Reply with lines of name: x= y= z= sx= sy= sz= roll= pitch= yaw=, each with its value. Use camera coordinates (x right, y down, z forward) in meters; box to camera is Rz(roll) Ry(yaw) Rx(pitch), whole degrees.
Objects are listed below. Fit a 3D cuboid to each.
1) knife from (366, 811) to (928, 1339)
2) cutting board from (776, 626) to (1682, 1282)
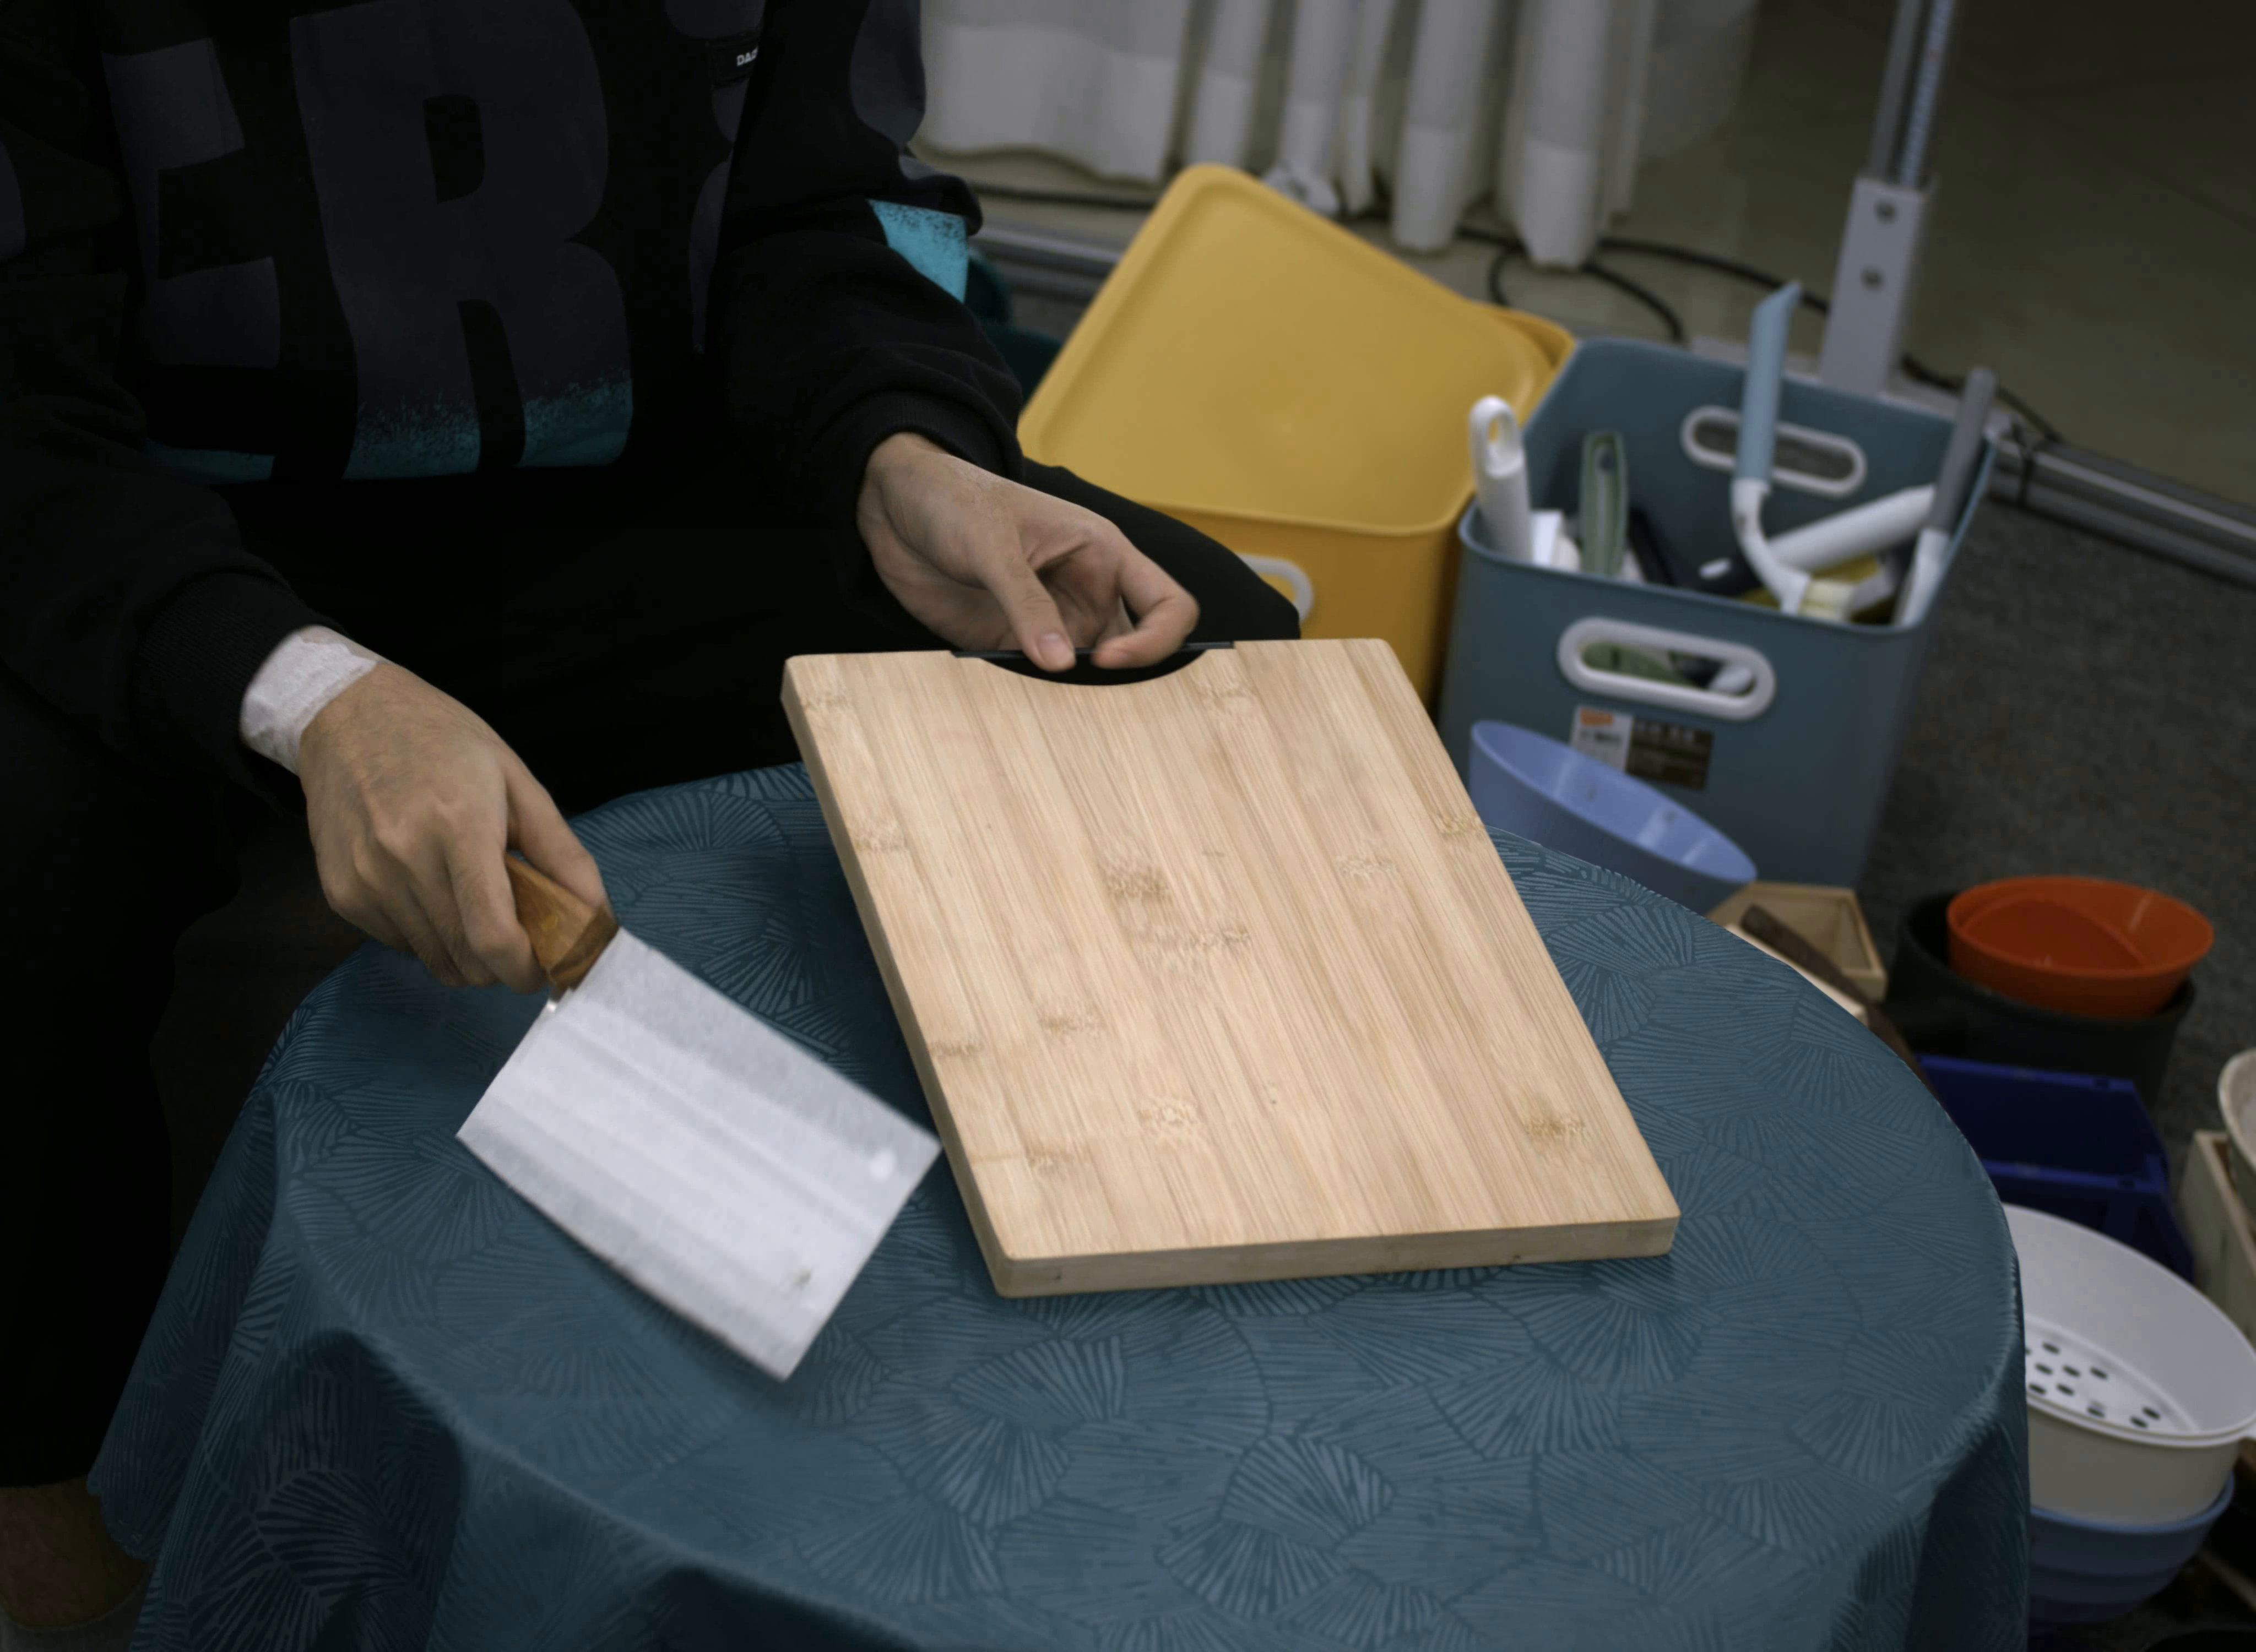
knife: x=-0.178 y=0.083 z=1.761 sx=0.308 sy=0.093 sz=0.021 roll=31 pitch=-6 yaw=45
cutting board: x=0.027 y=0.039 z=1.896 sx=0.249 sy=0.023 sz=0.352 roll=-3 pitch=38 yaw=-18
